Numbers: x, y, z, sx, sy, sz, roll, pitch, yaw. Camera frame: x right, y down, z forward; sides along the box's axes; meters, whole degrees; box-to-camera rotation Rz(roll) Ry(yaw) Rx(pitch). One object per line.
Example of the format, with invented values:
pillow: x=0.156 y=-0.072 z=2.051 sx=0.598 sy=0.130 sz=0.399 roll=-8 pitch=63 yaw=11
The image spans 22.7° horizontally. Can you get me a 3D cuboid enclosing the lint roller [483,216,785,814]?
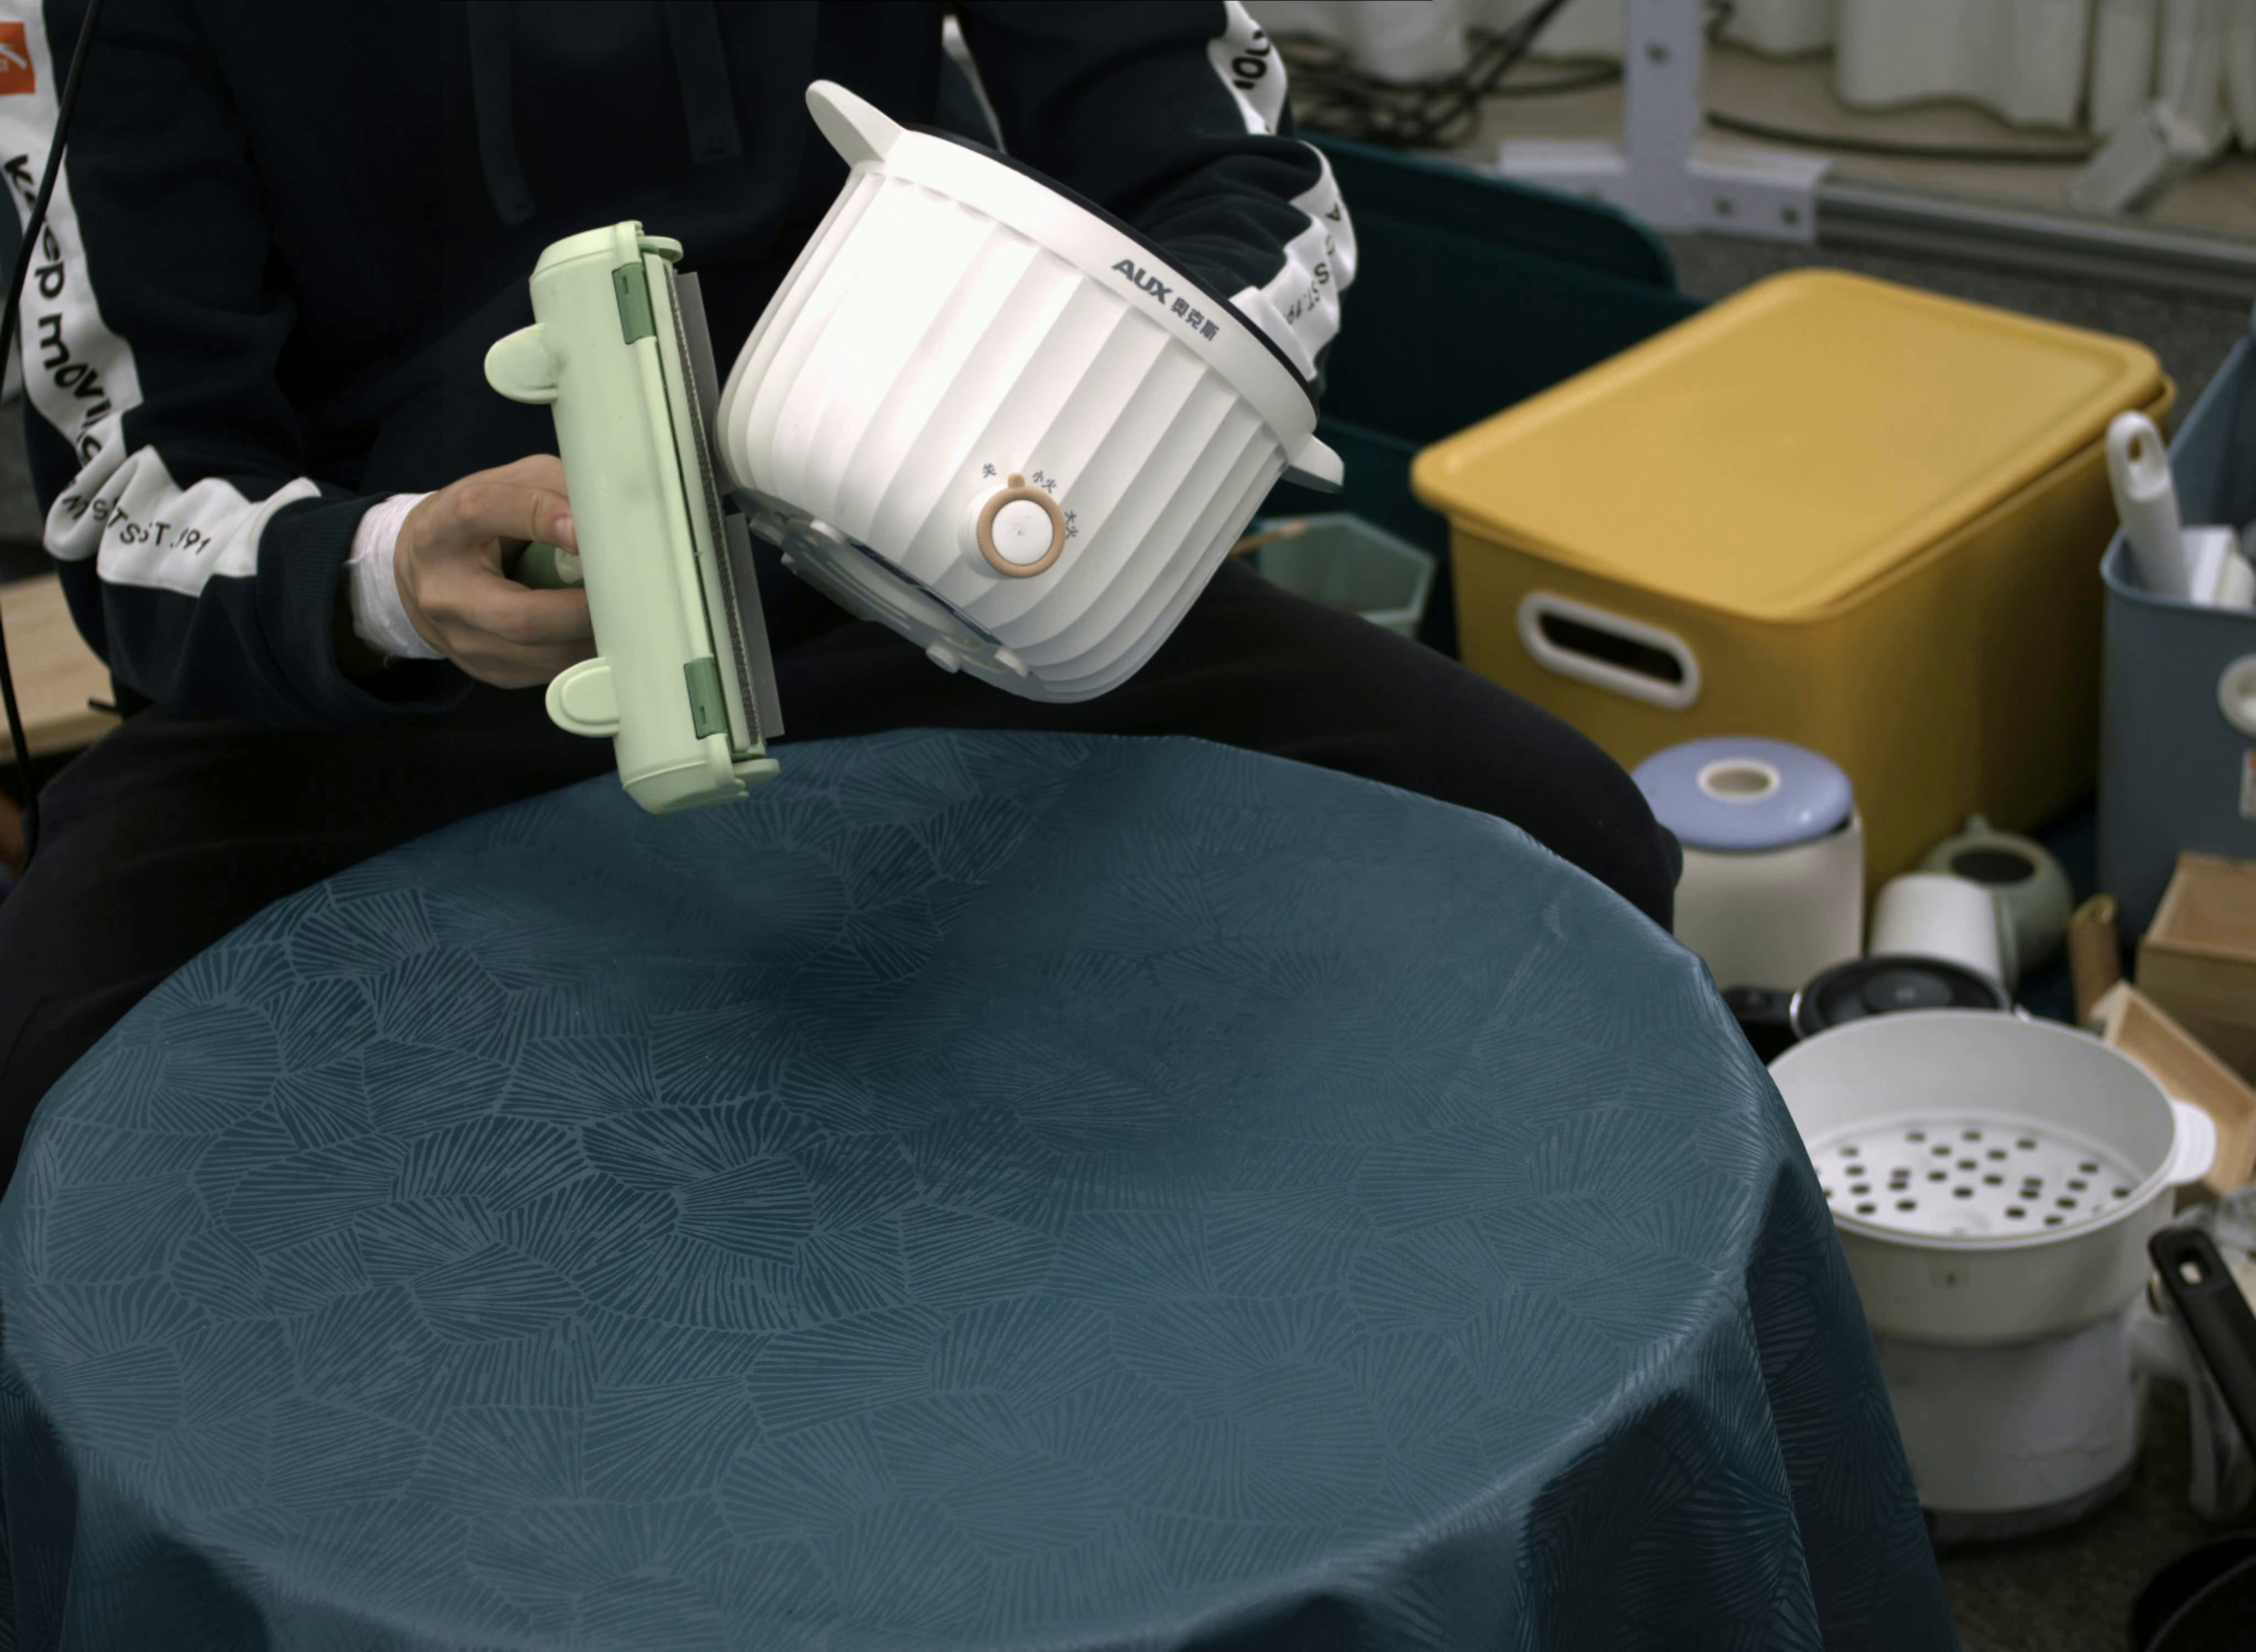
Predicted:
lint roller: x=-0.194 y=-0.092 z=1.939 sx=0.082 sy=0.200 sz=0.181 roll=-6 pitch=-9 yaw=-34

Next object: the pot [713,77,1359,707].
pot: x=-0.043 y=-0.131 z=1.919 sx=0.144 sy=0.239 sz=0.189 roll=-59 pitch=18 yaw=-12
